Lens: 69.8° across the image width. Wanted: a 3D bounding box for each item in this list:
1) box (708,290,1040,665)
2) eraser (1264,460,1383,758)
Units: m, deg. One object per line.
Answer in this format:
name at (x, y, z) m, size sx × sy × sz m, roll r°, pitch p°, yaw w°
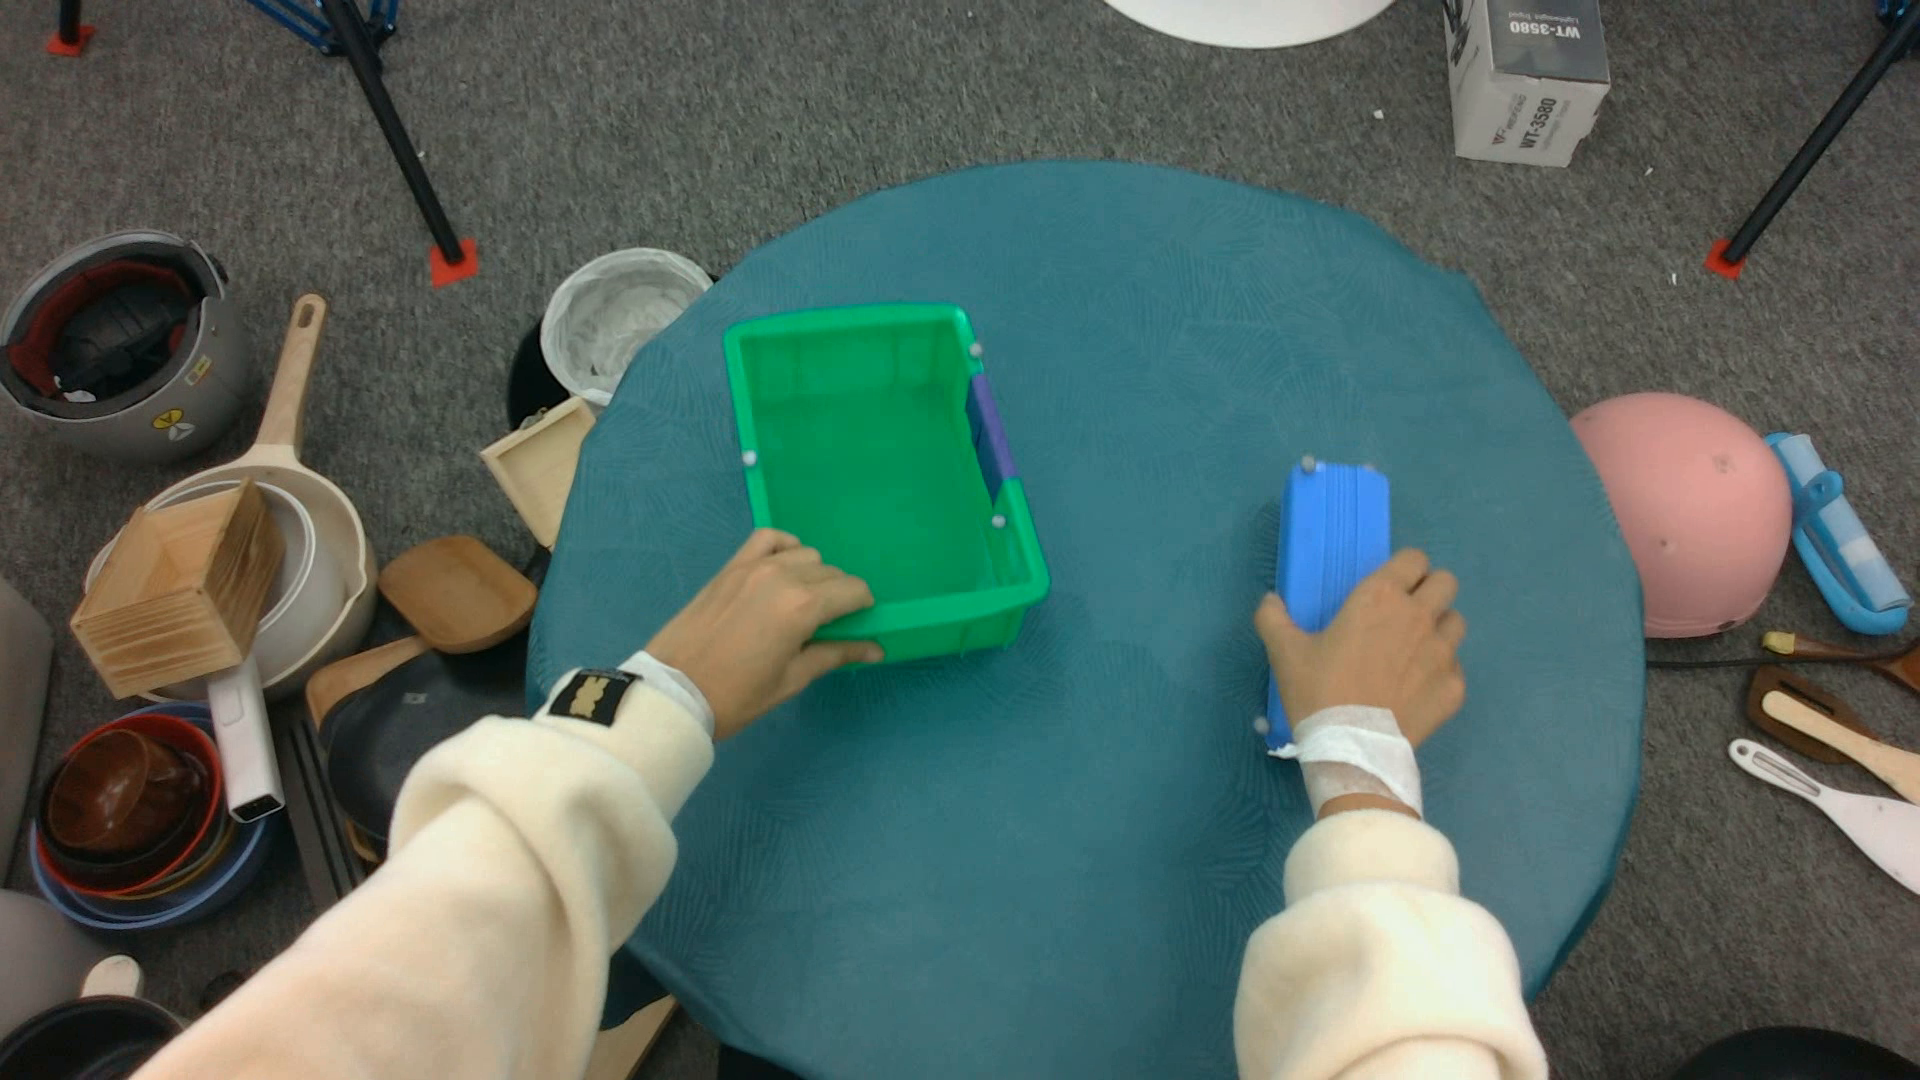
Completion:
box at (-0.051, -0.035, 0.733) m, size 0.139 × 0.065 × 0.211 m, roll -8°, pitch 56°, yaw -14°
eraser at (0.192, 0.031, 0.720) m, size 0.054 × 0.047 × 0.163 m, roll 7°, pitch 63°, yaw 7°
